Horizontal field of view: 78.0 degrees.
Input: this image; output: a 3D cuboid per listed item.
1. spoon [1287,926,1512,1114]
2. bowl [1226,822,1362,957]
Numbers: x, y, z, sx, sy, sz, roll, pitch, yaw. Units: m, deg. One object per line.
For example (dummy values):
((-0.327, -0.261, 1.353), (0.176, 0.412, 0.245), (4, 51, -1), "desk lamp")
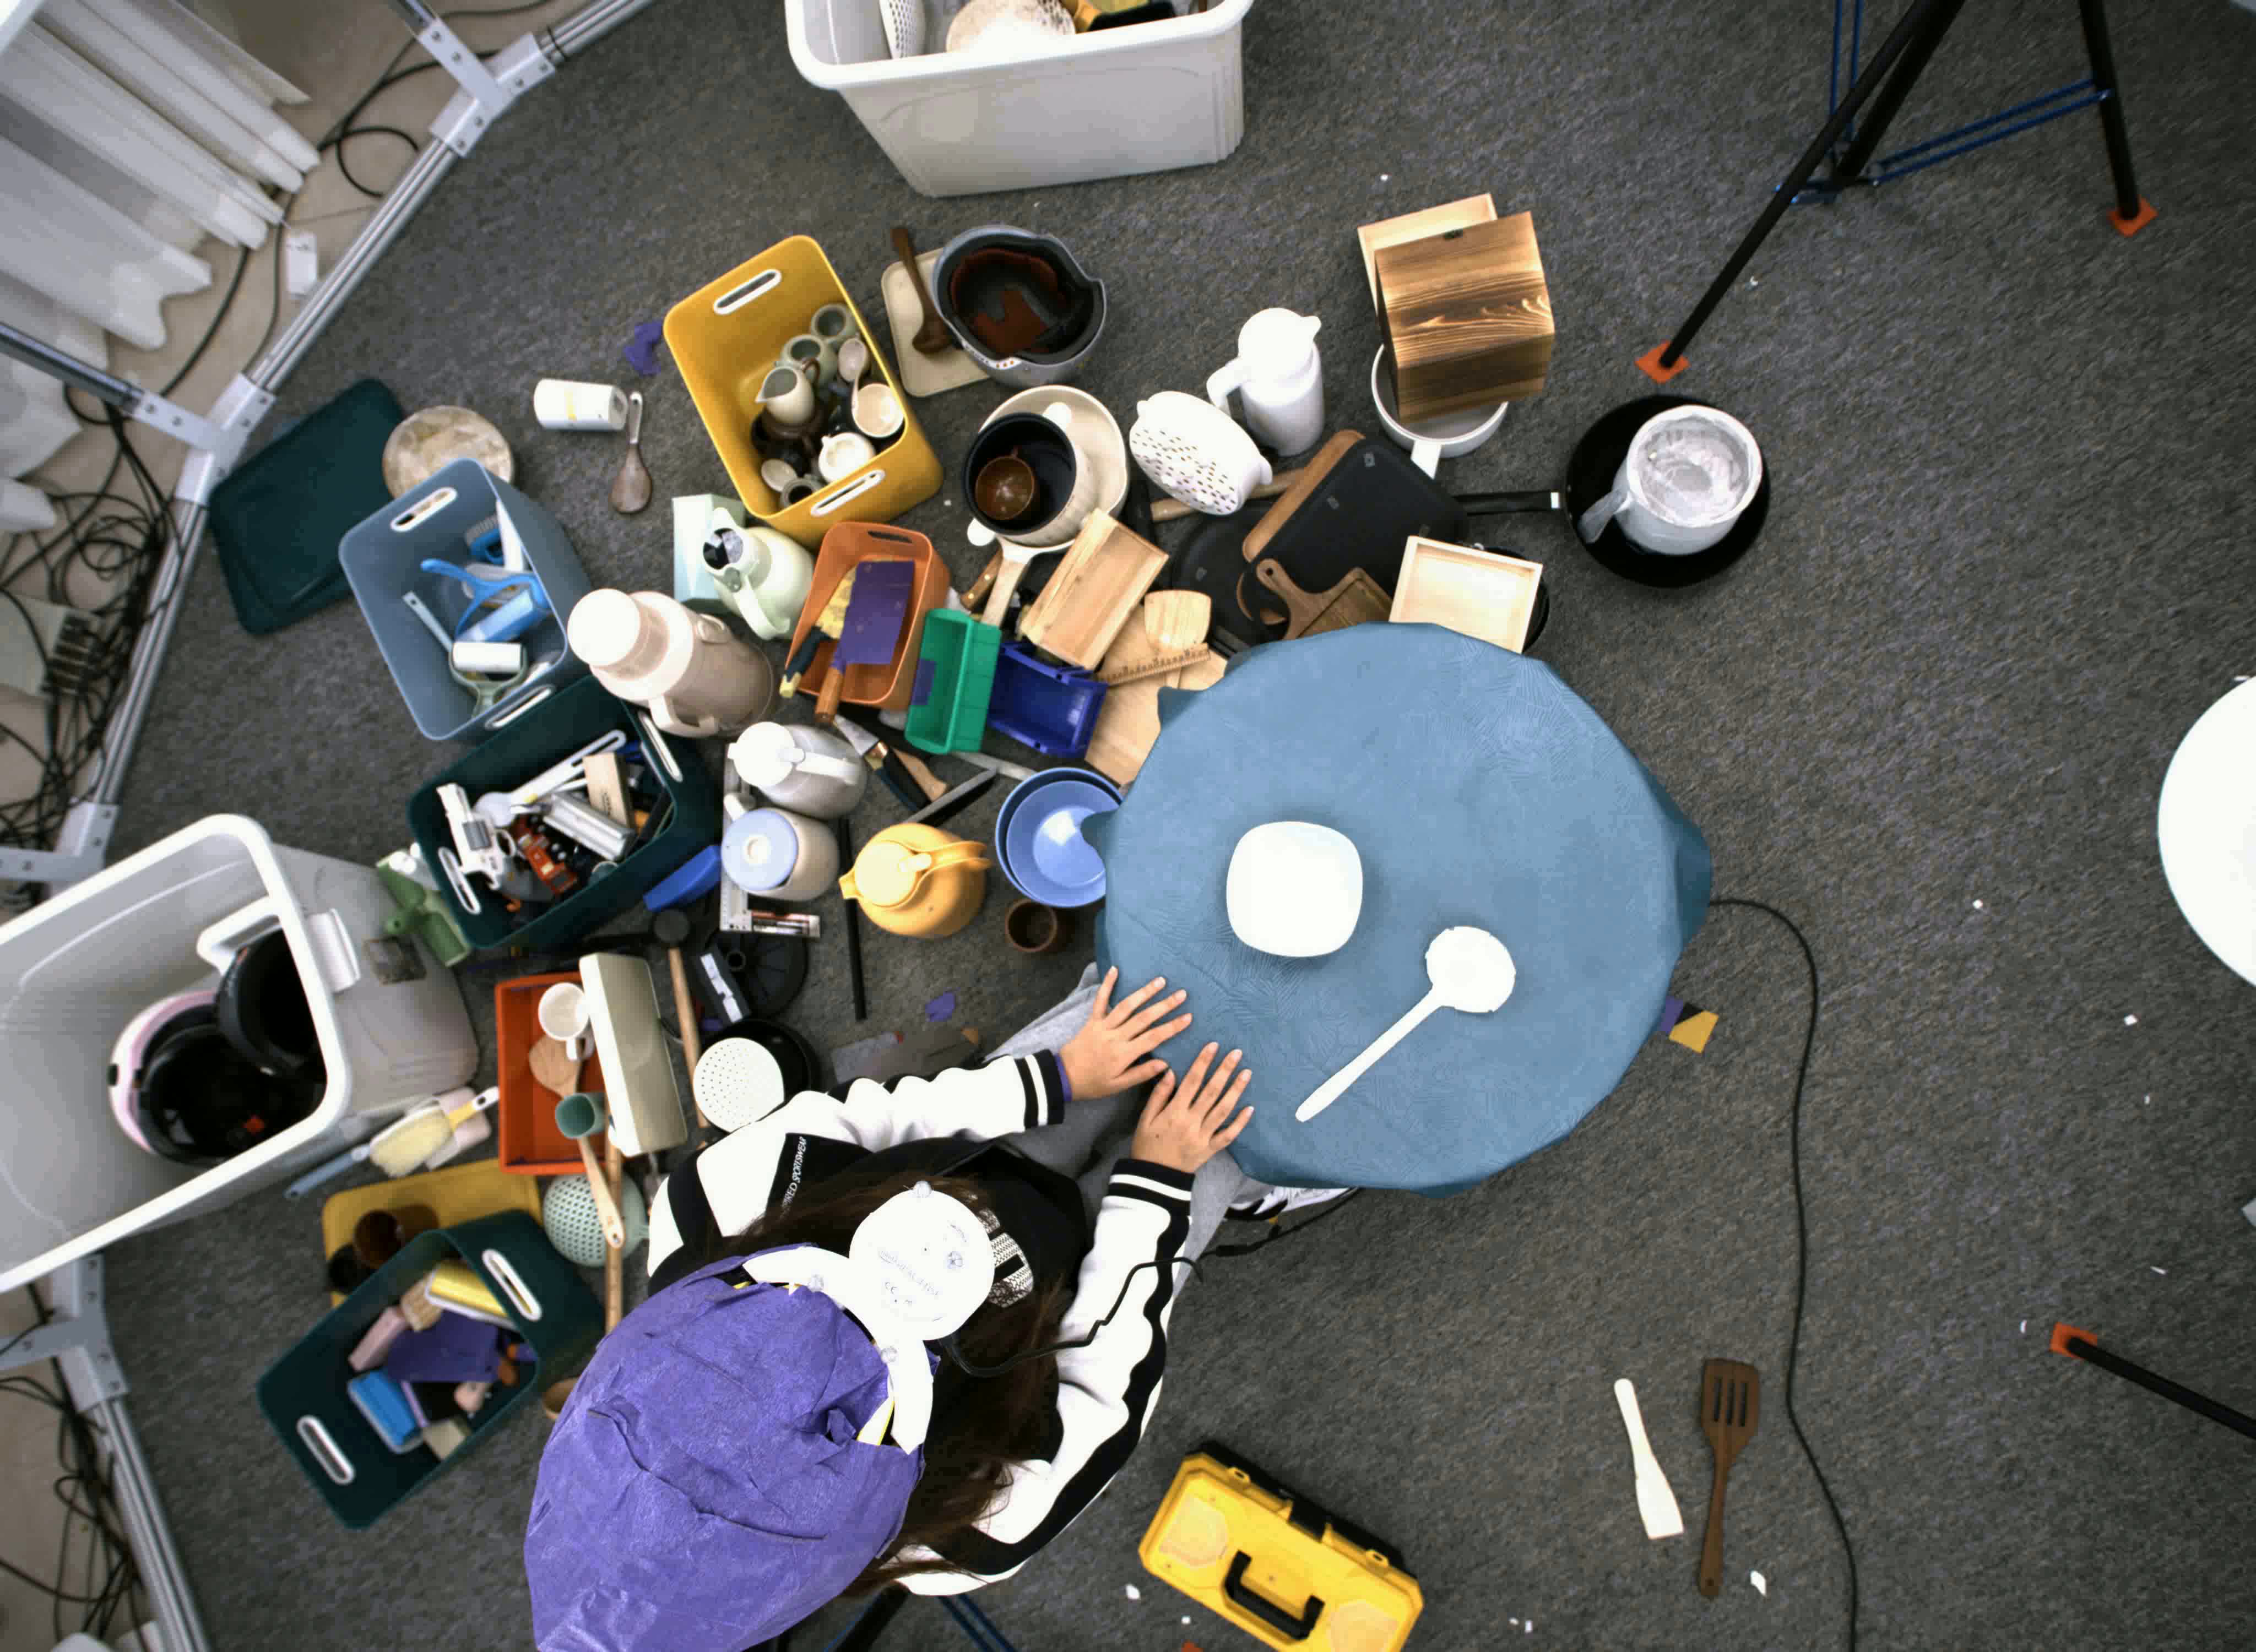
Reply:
((0.270, 0.205, 1.424), (0.279, 0.059, 0.100), (-39, 76, 6), "spoon")
((0.175, 0.068, 1.451), (0.152, 0.058, 0.151), (-1, 86, 10), "bowl")
